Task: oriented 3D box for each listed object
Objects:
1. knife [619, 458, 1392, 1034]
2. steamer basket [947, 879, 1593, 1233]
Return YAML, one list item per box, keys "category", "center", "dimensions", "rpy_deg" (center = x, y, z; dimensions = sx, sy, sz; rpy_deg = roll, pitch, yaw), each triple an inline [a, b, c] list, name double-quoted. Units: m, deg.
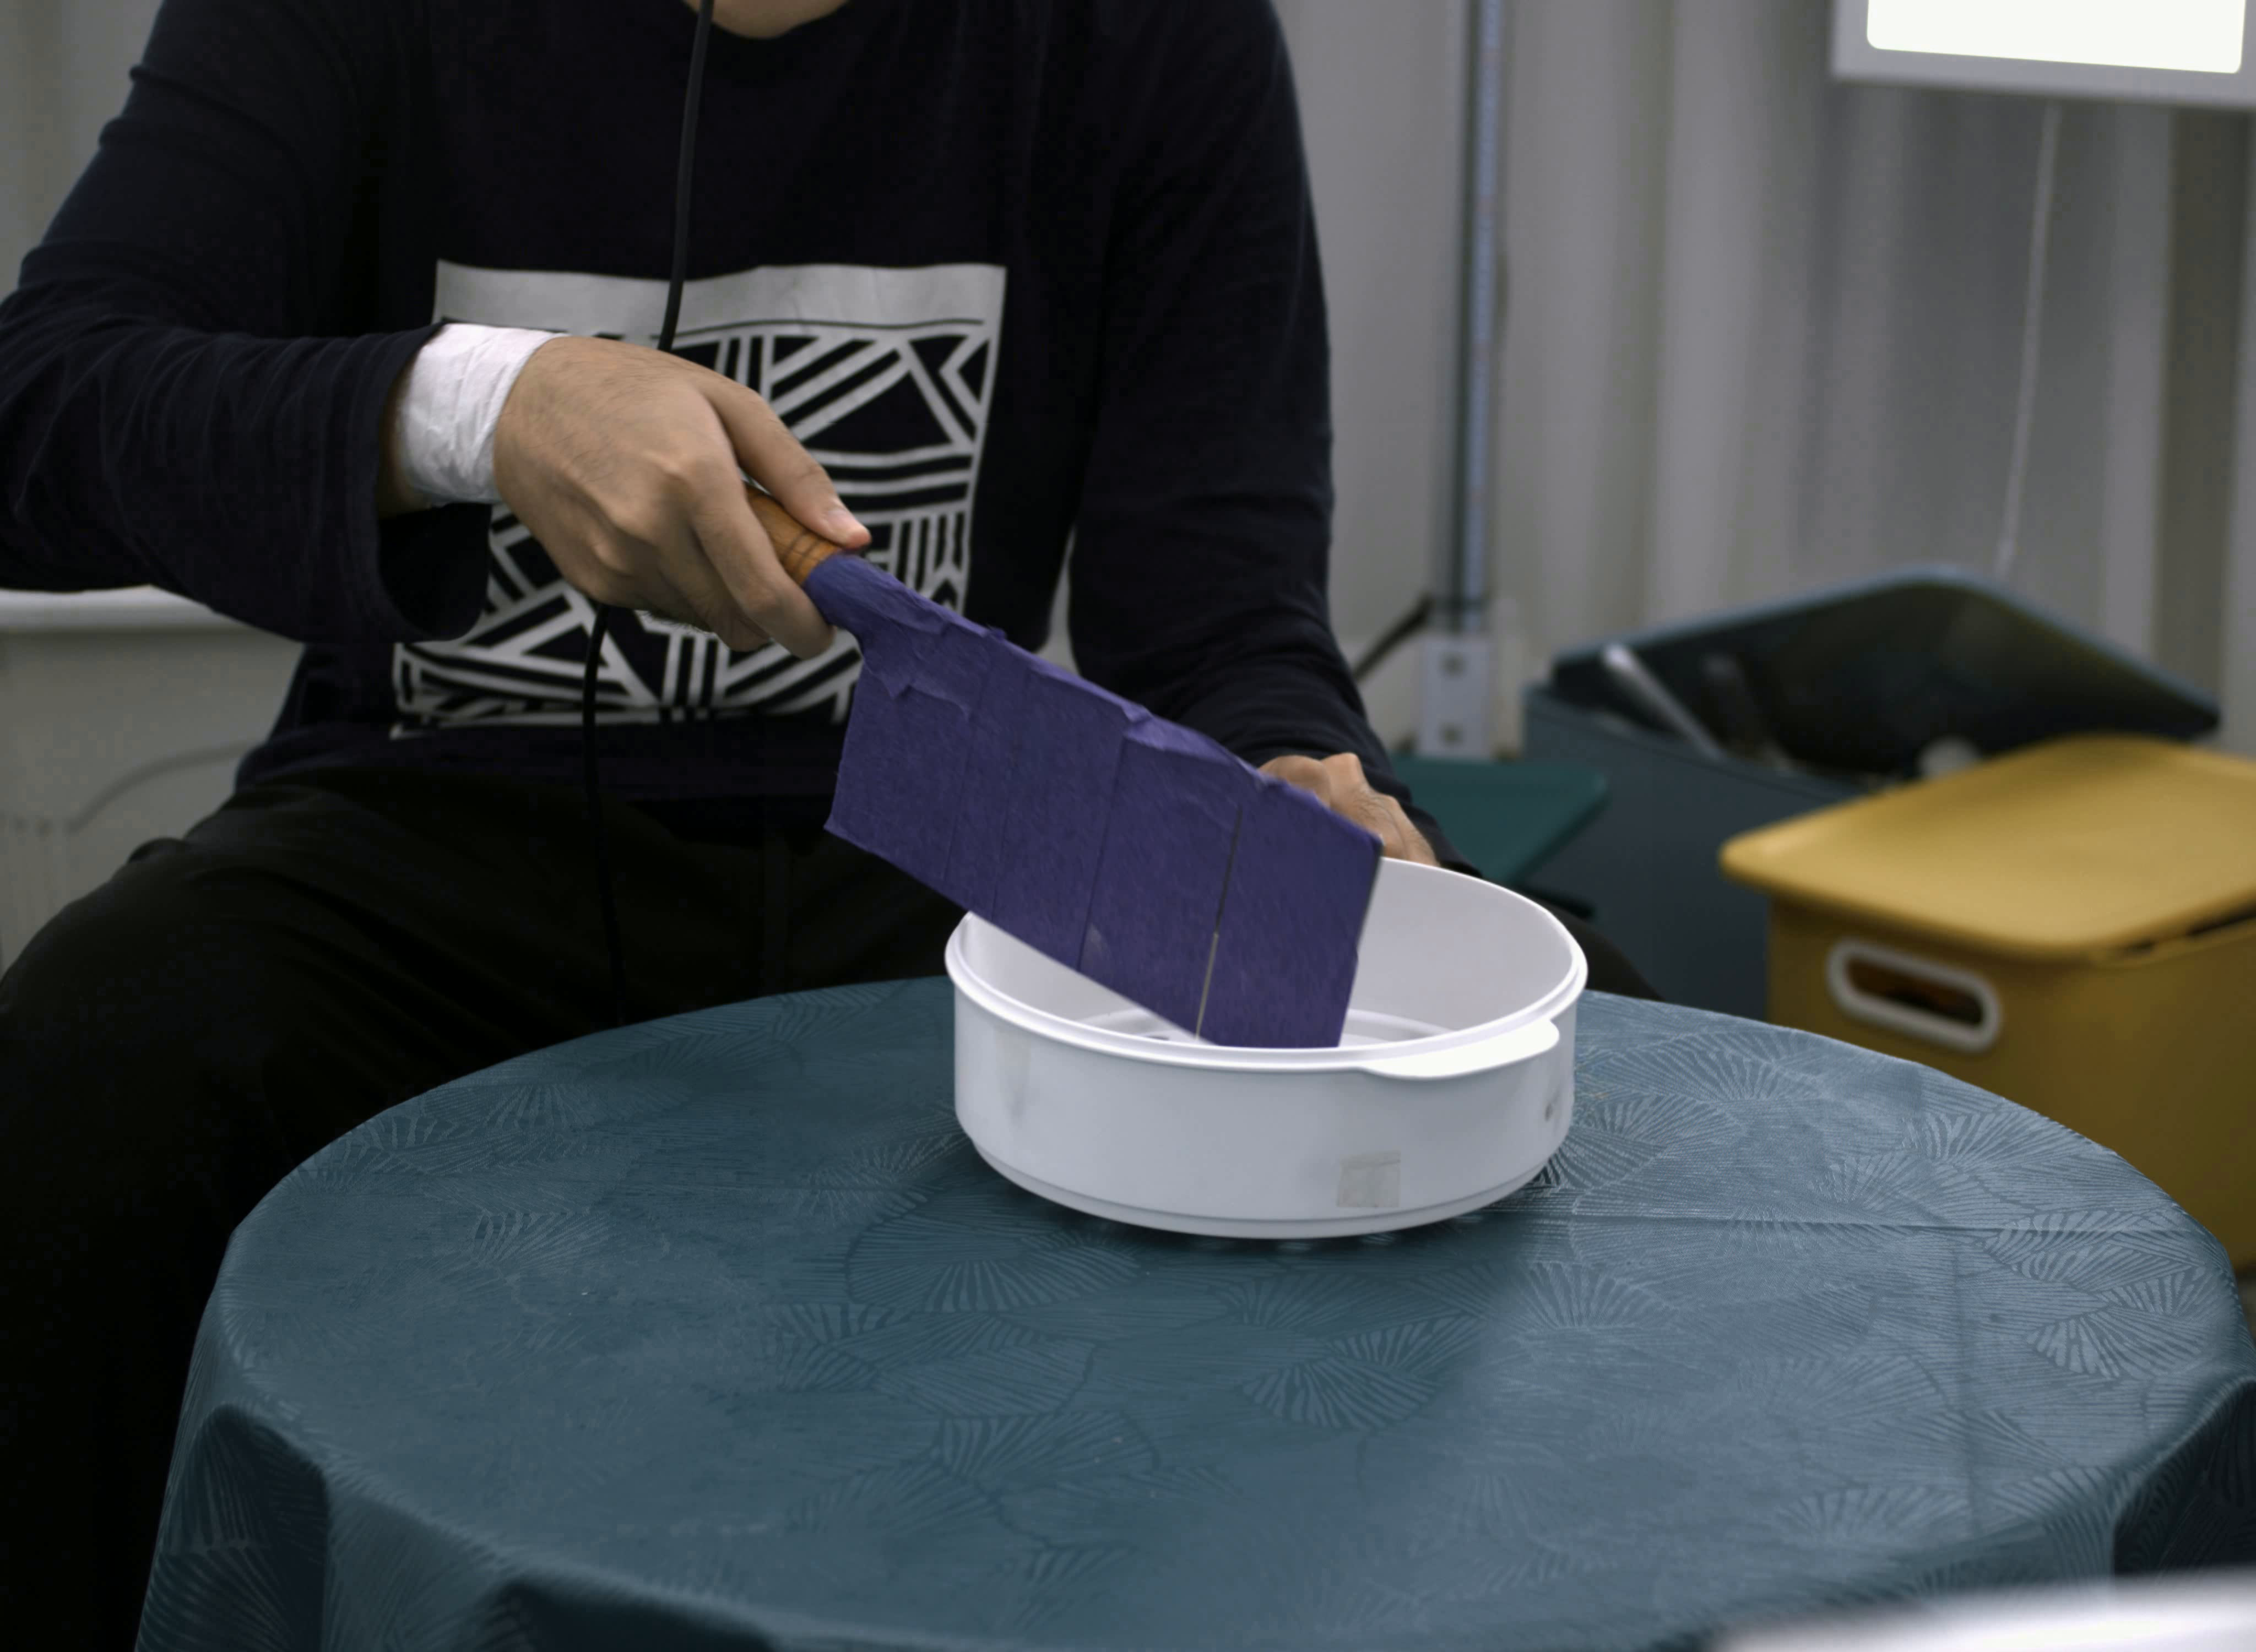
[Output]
- category: "knife"
  center: [-0.049, -0.018, 1.636]
  dimensions: [0.311, 0.104, 0.032]
  rpy_deg: [29, 26, 33]
- category: "steamer basket"
  center: [0.044, 0.070, 1.643]
  dimensions: [0.203, 0.070, 0.227]
  rpy_deg: [-10, 18, -35]
